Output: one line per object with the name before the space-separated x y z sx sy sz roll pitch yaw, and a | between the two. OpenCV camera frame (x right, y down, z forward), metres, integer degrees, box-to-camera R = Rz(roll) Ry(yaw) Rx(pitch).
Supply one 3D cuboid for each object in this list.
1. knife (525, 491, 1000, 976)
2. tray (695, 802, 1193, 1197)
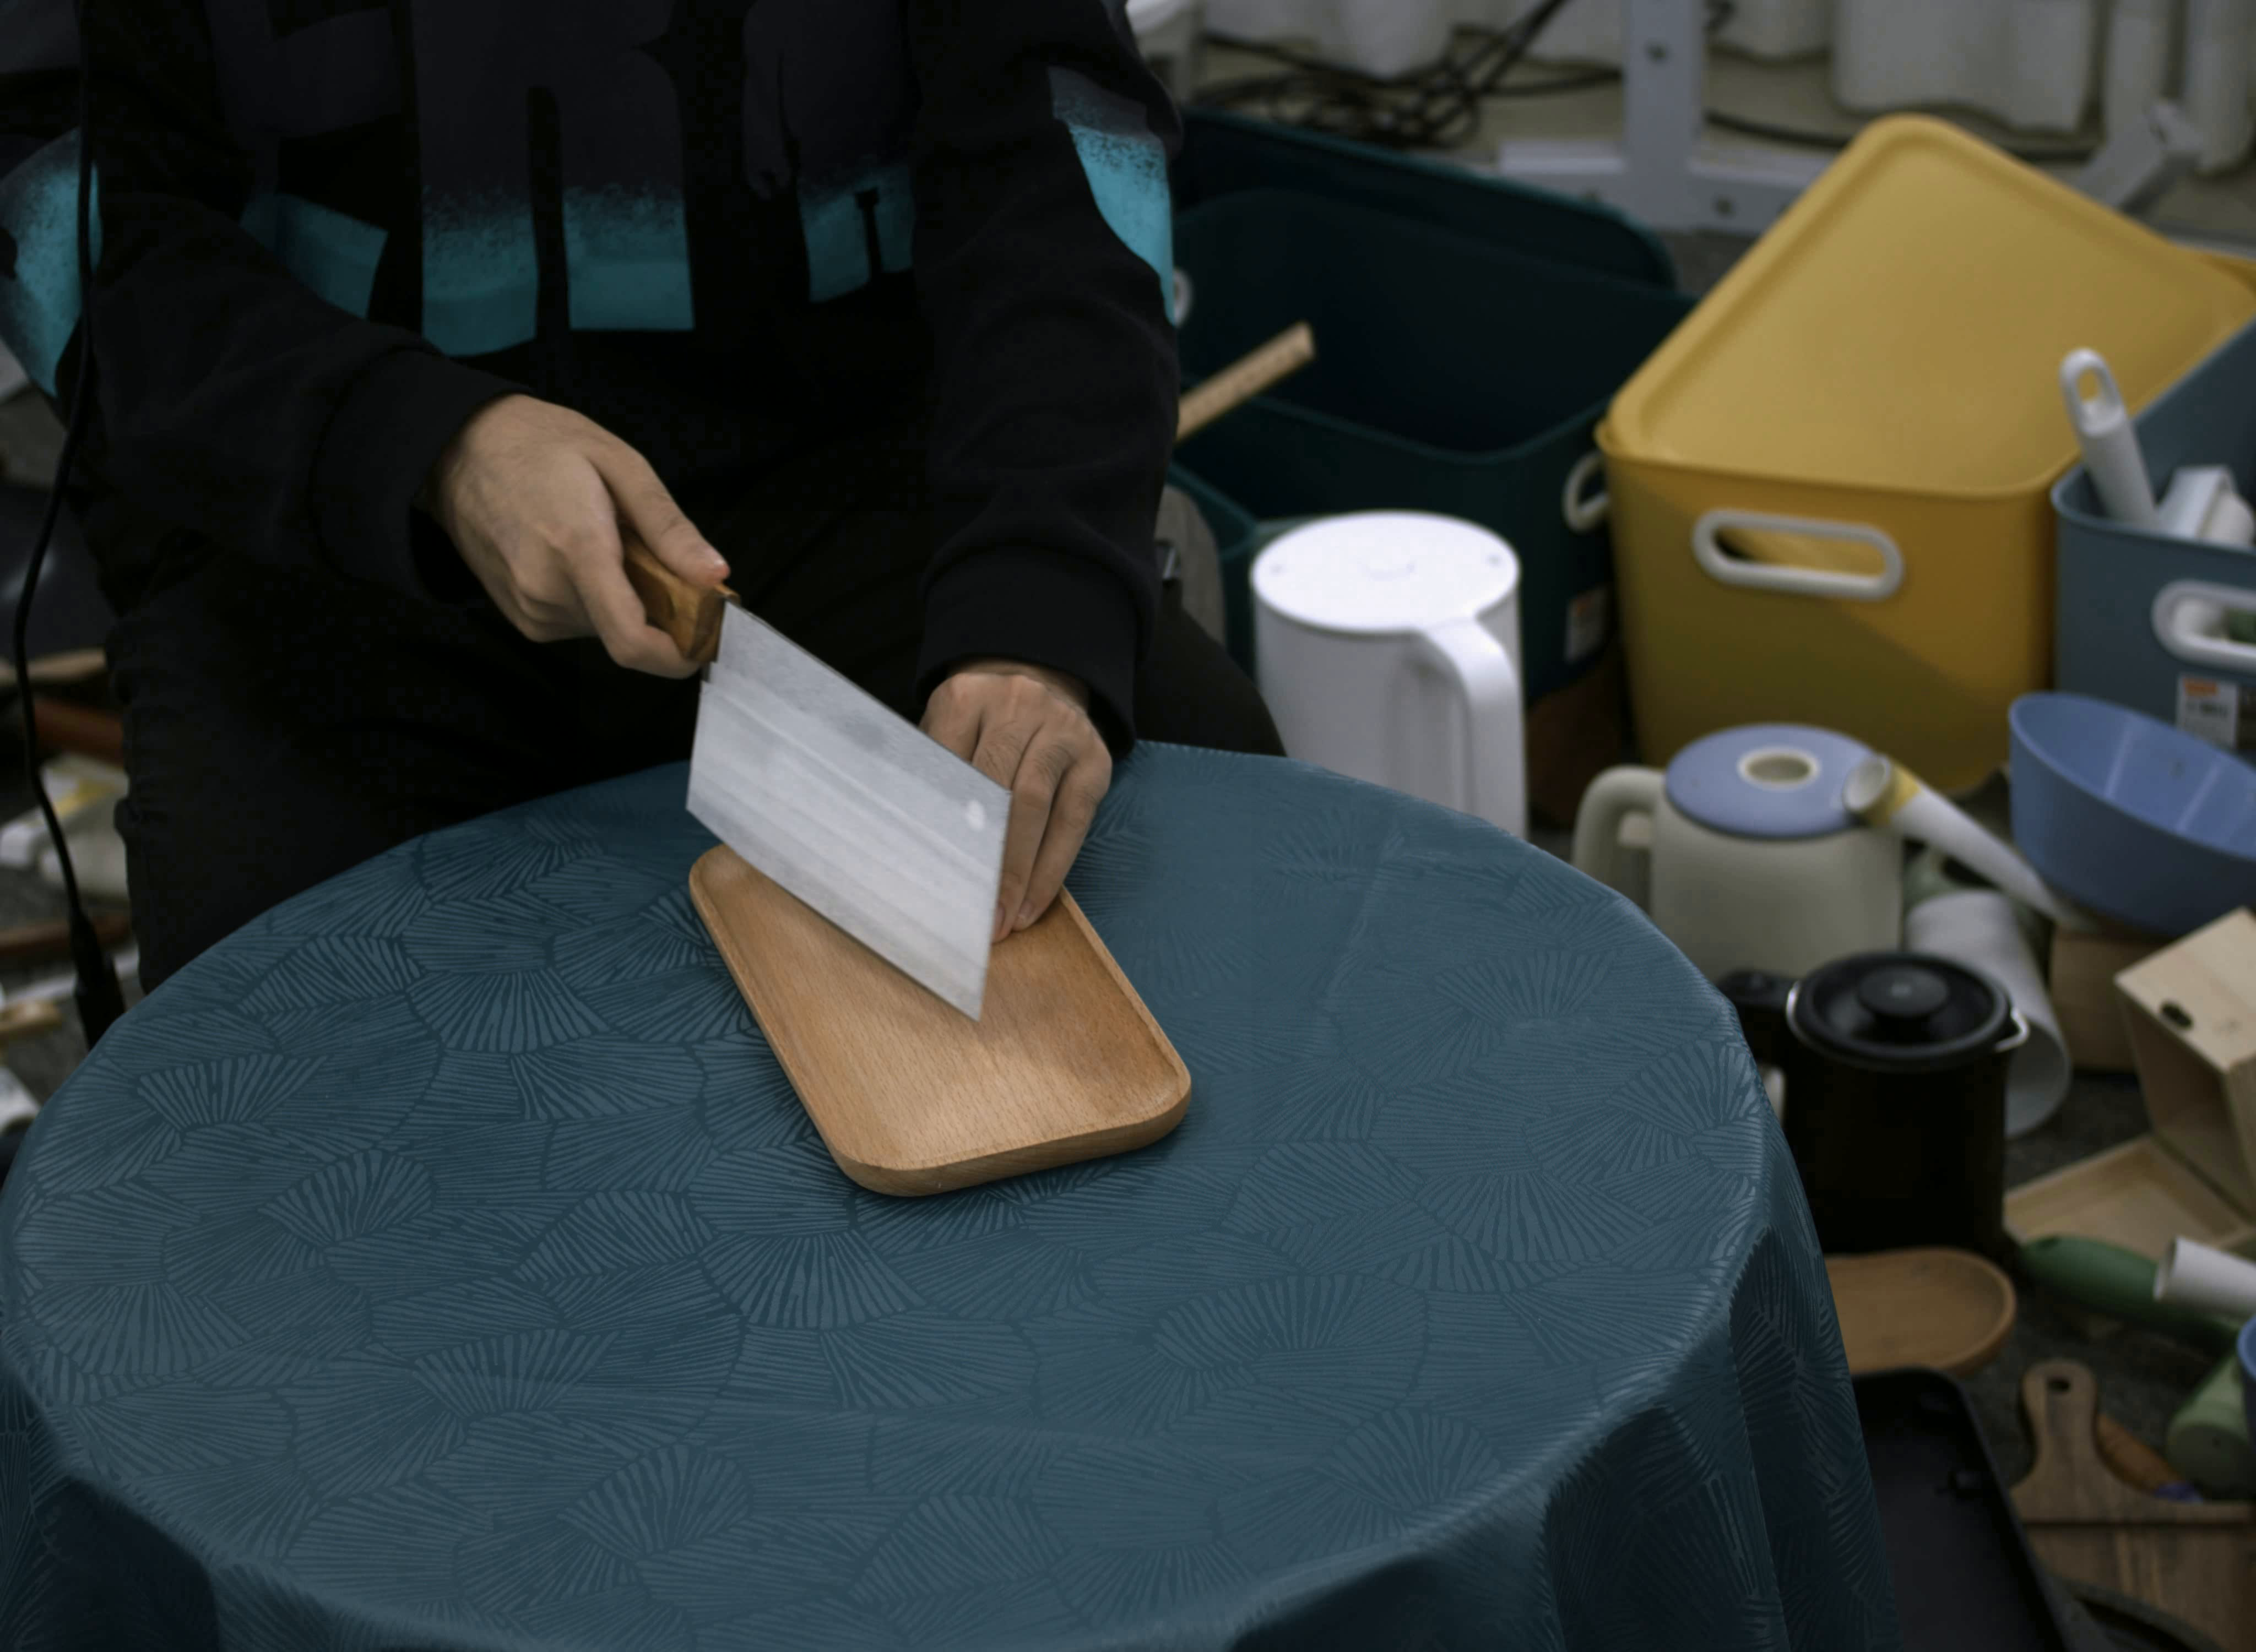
knife | -0.135 -0.032 2.022 0.021 0.092 0.306 -8 28 -36
tray | -0.068 0.058 1.974 0.130 0.022 0.253 -8 27 -14
